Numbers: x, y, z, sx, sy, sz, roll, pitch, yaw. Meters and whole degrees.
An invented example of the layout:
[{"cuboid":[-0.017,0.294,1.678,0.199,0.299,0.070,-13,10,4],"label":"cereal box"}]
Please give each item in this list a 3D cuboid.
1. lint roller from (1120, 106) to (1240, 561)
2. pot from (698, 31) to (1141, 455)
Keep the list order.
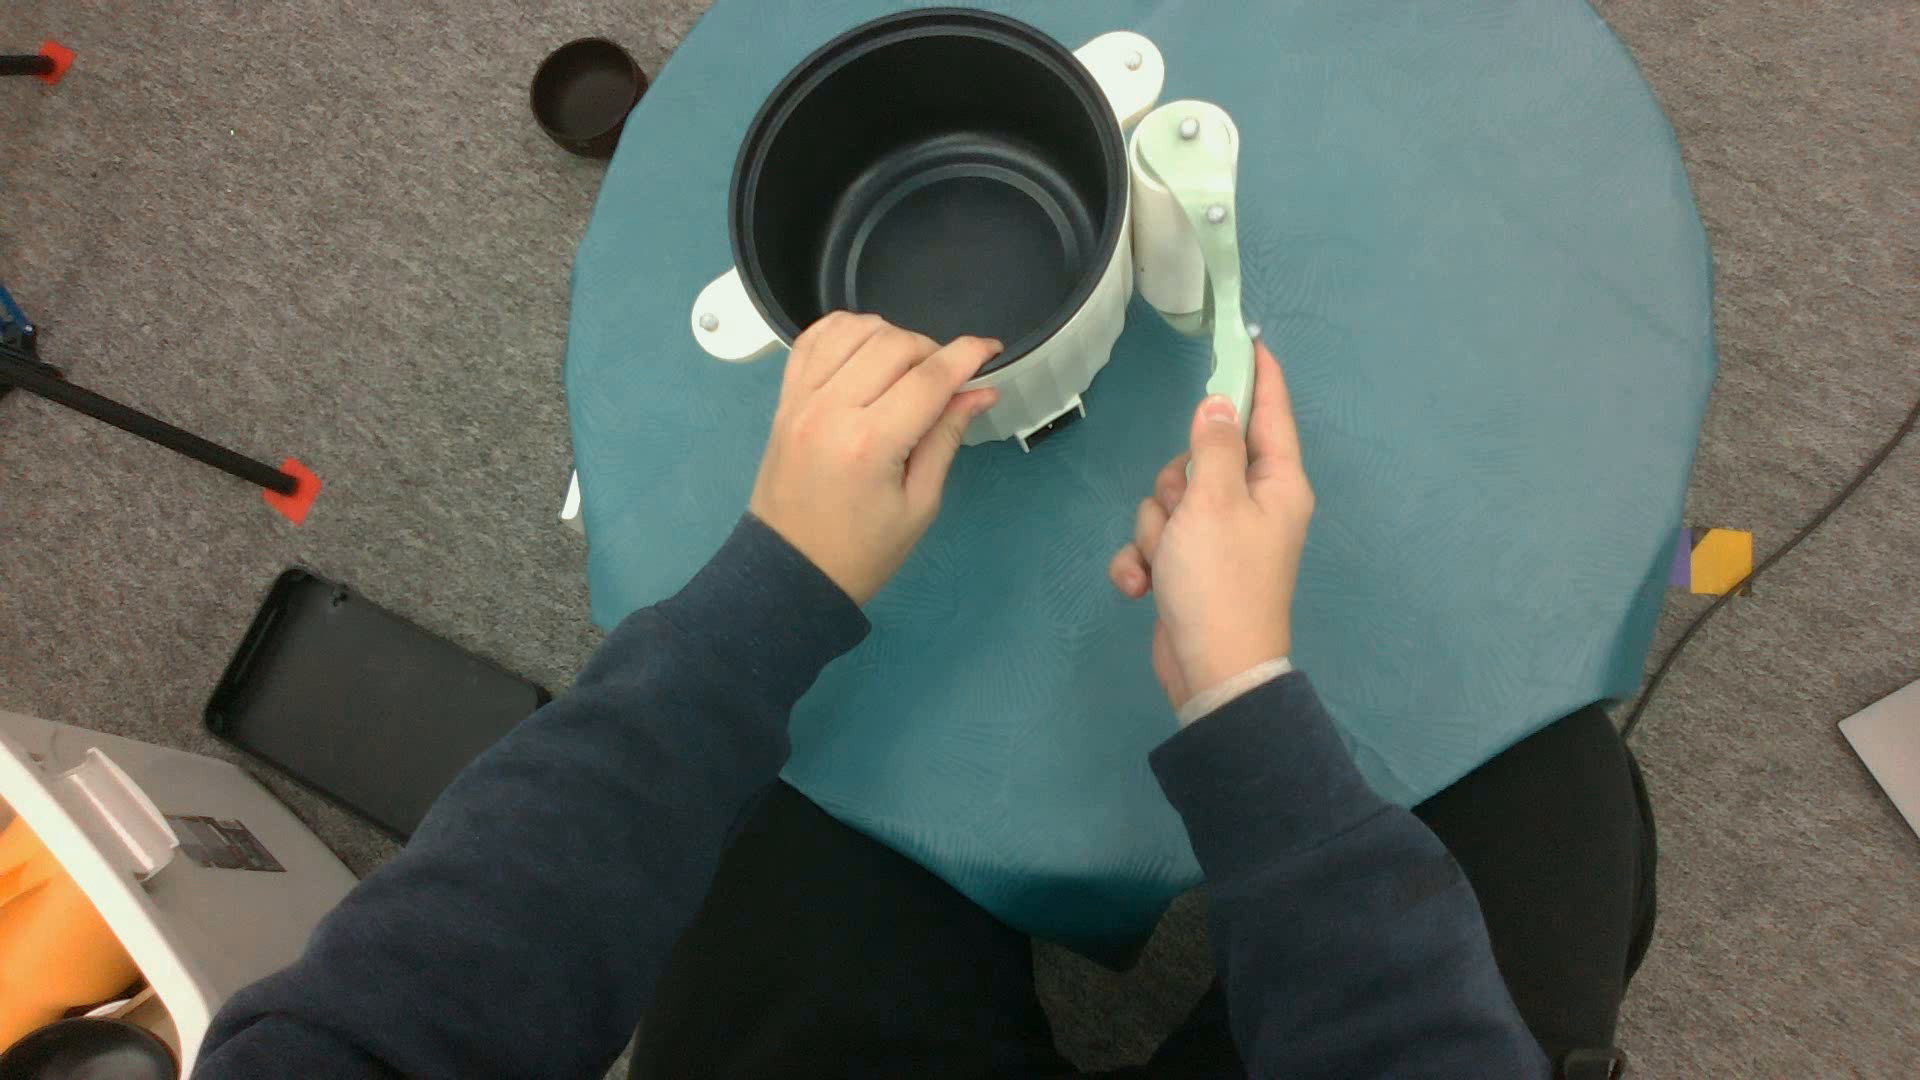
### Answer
[{"cuboid":[0.102,-0.086,0.623,0.048,0.116,0.198,-5,68,5],"label":"lint roller"},{"cuboid":[-0.012,-0.139,0.689,0.240,0.142,0.190,-35,76,1],"label":"pot"}]
